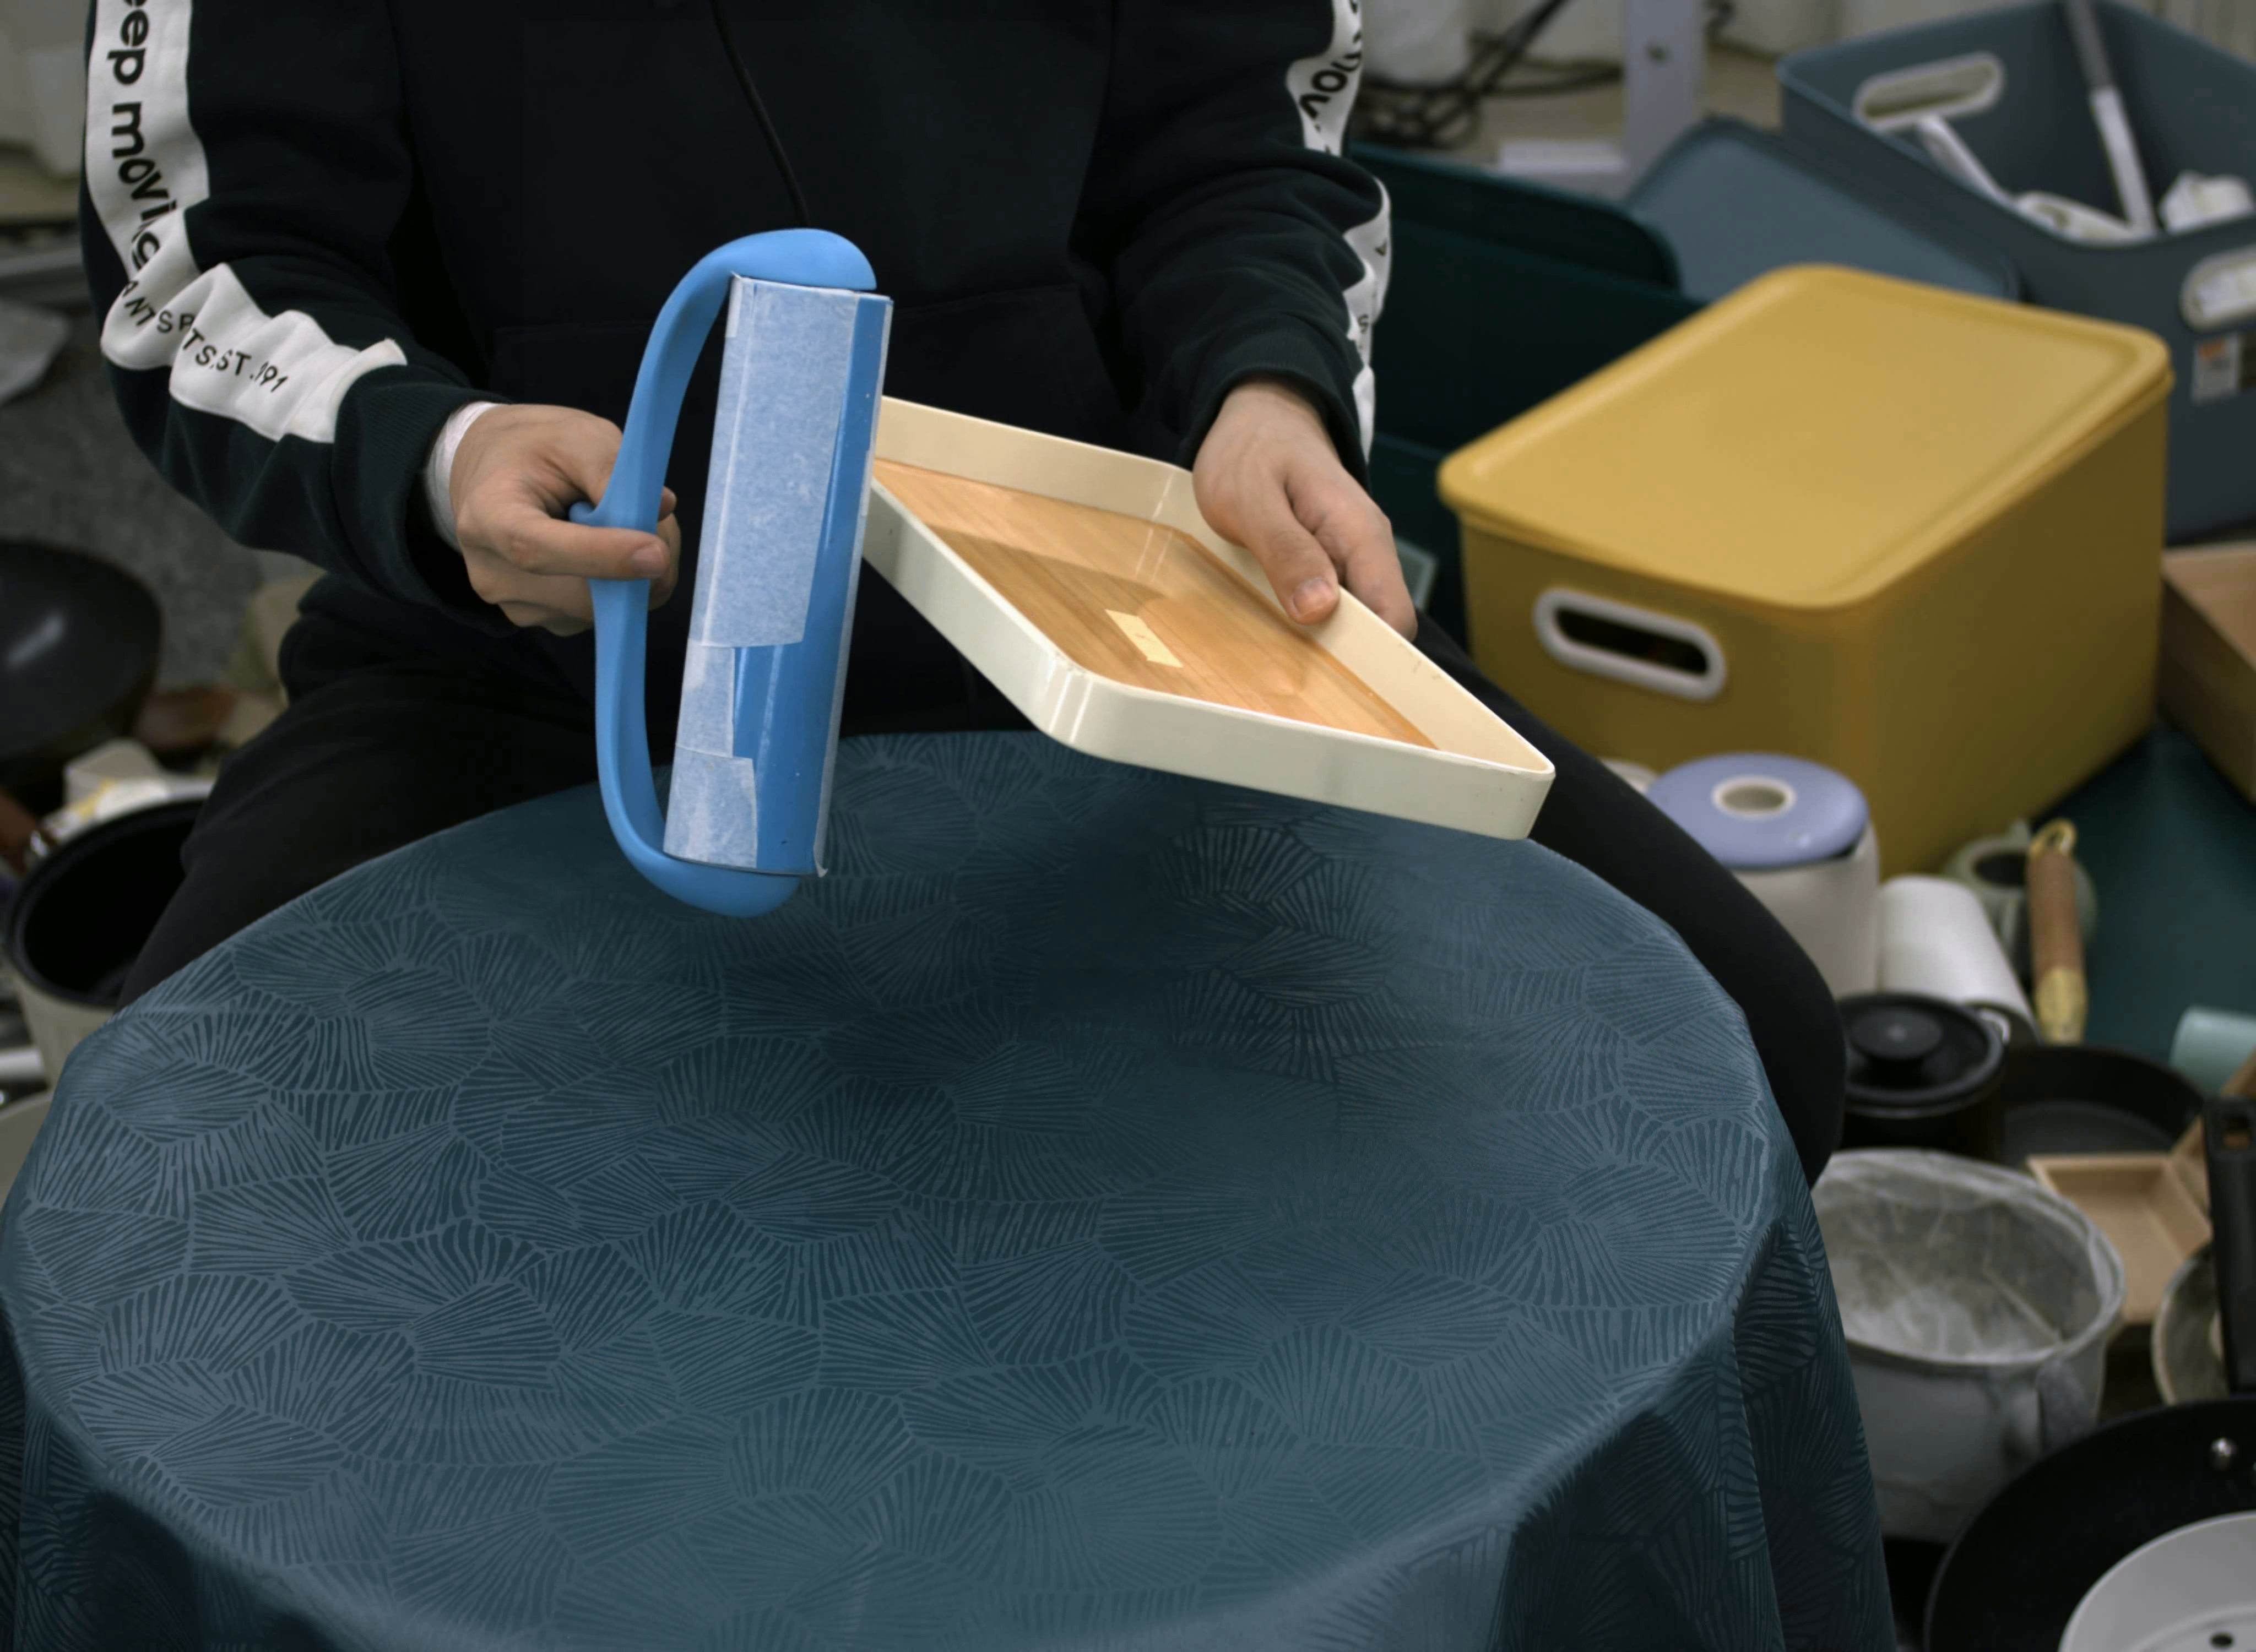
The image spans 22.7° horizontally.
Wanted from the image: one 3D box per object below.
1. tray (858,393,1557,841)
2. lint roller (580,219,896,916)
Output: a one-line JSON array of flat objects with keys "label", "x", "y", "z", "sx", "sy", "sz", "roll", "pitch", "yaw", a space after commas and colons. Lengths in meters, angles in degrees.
[{"label": "tray", "x": 0.003, "y": -0.077, "z": 1.921, "sx": 0.191, "sy": 0.027, "sz": 0.302, "roll": 12, "pitch": 17, "yaw": -30}, {"label": "lint roller", "x": -0.149, "y": -0.089, "z": 1.900, "sx": 0.068, "sy": 0.230, "sz": 0.179, "roll": 3, "pitch": 2, "yaw": -38}]
